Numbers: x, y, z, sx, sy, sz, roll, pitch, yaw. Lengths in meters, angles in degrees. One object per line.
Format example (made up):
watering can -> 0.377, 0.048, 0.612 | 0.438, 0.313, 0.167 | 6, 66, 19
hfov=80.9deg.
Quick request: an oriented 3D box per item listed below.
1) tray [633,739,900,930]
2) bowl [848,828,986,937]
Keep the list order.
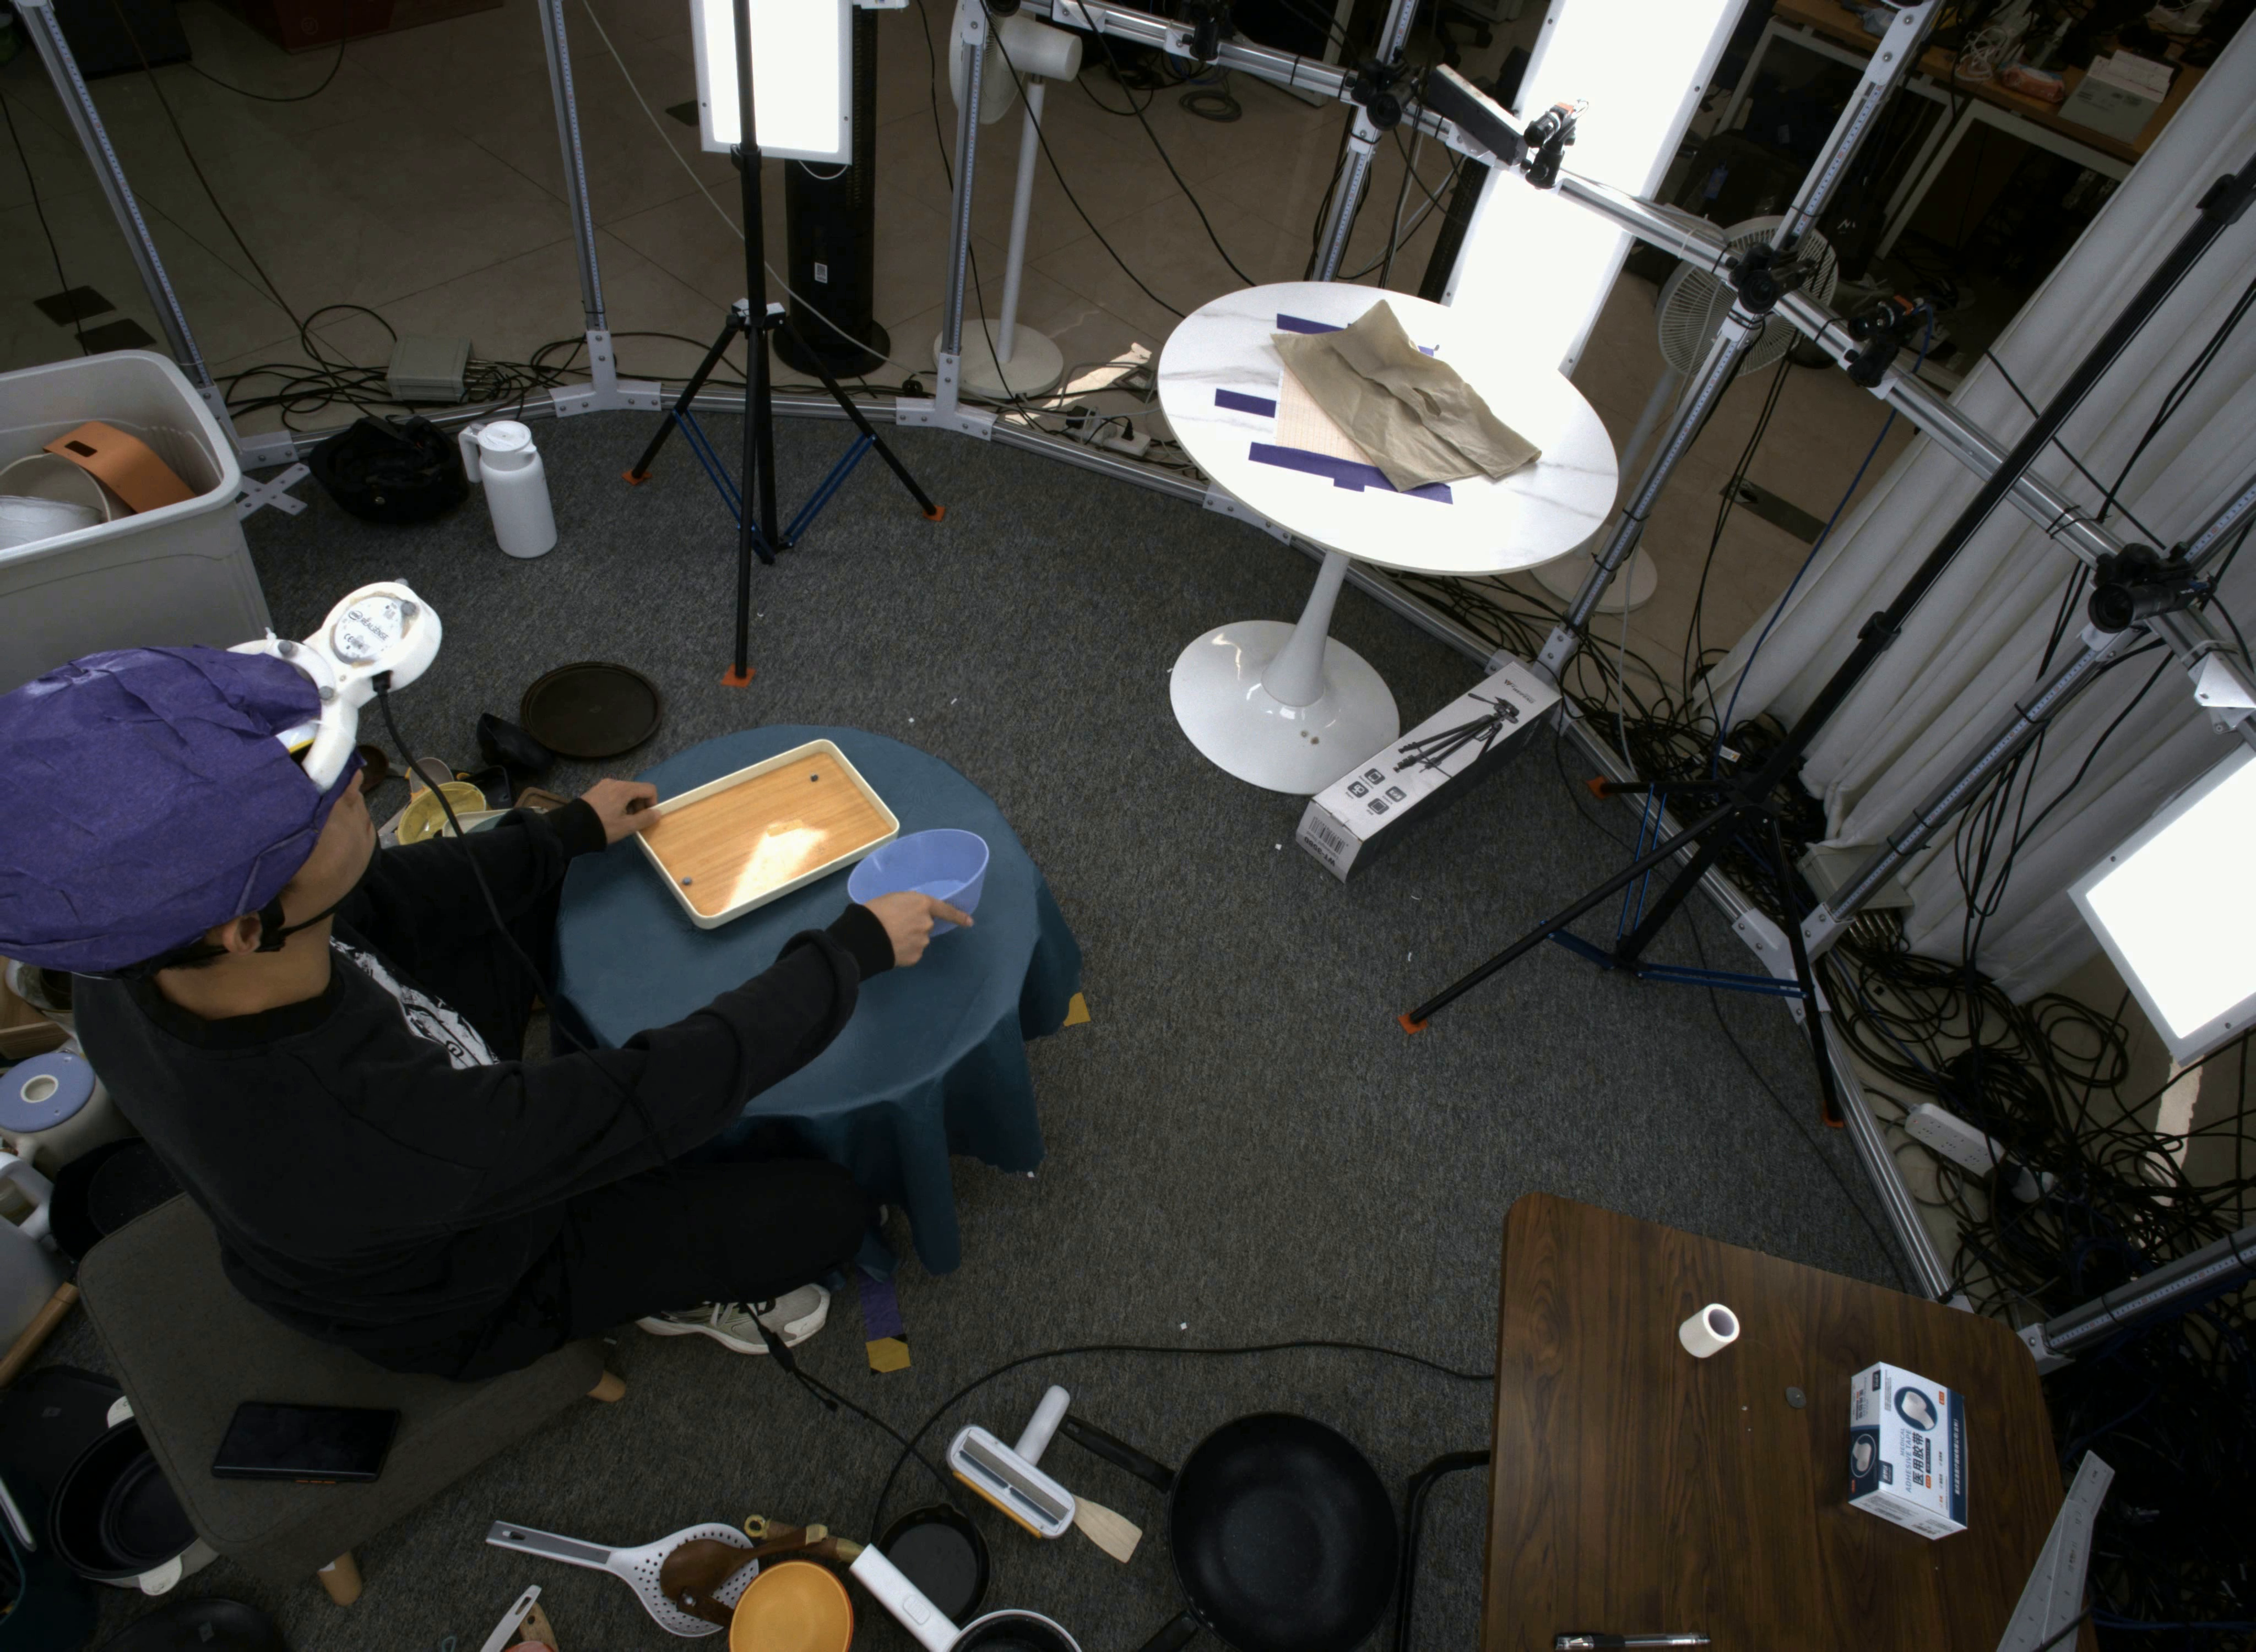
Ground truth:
tray -> -0.468, 0.003, 1.682 | 0.302, 0.028, 0.187 | -28, 65, -35
bowl -> -0.248, 0.074, 1.591 | 0.173, 0.073, 0.172 | -11, 28, 8
